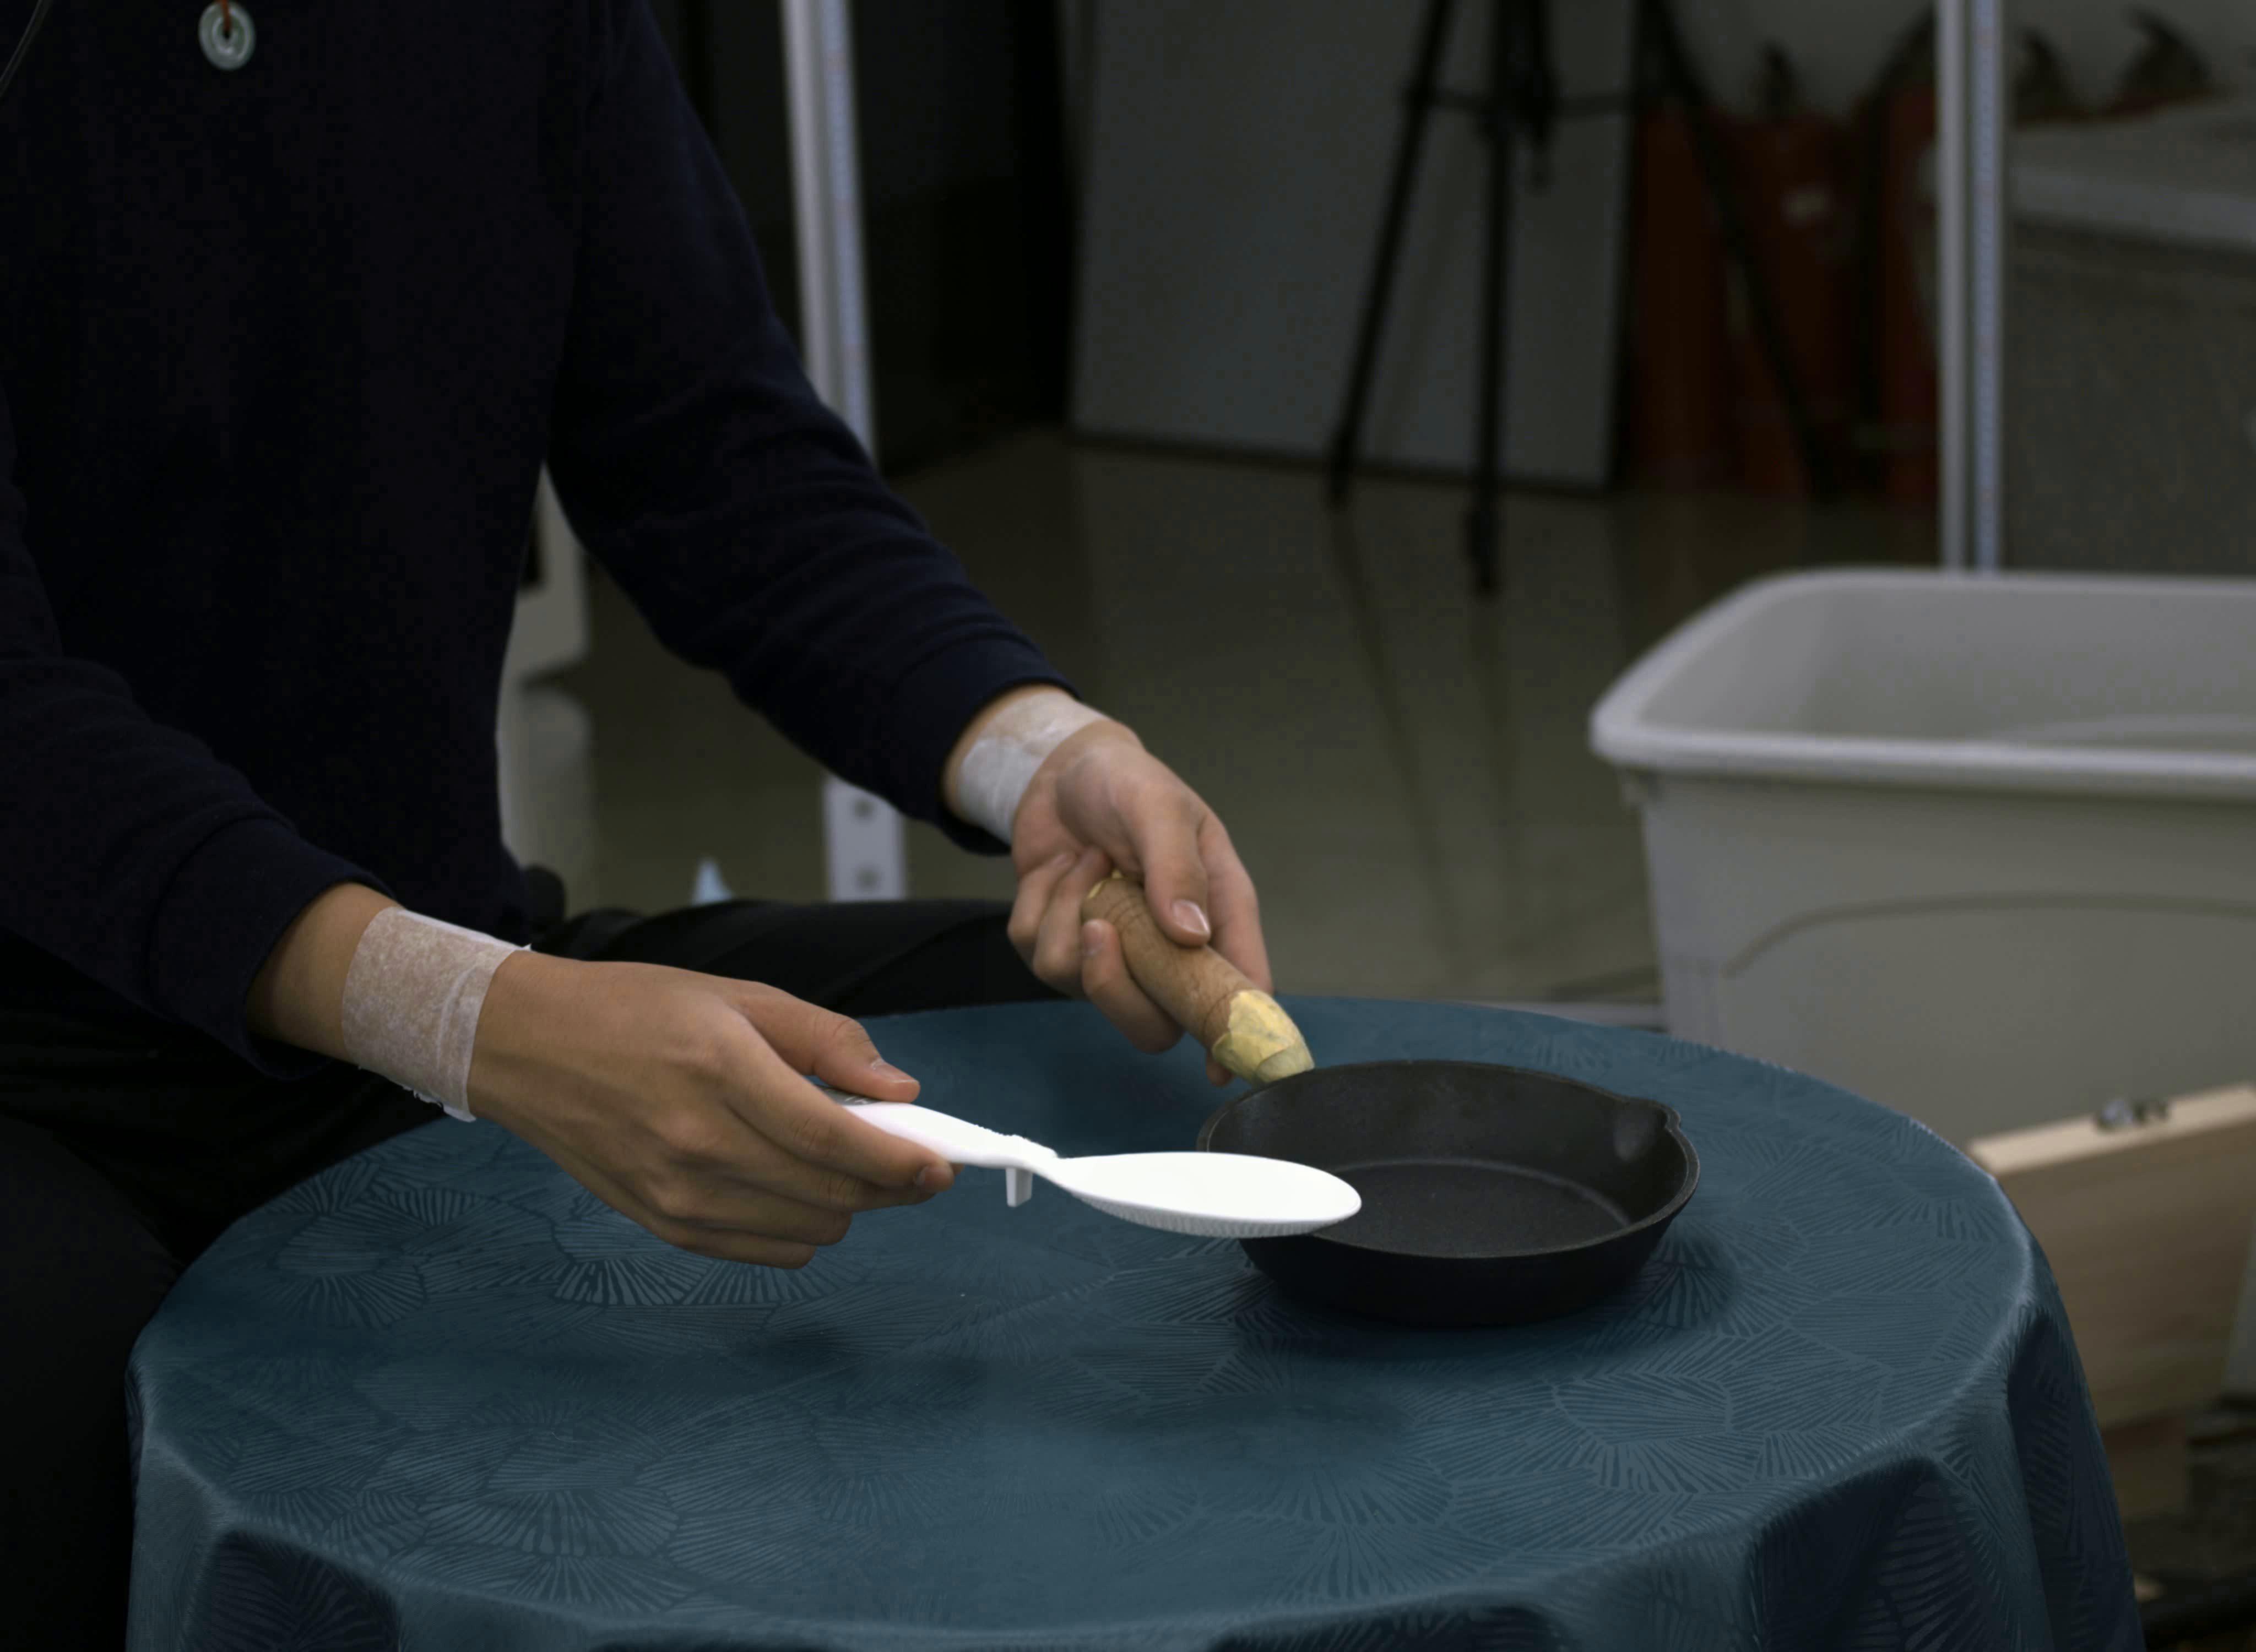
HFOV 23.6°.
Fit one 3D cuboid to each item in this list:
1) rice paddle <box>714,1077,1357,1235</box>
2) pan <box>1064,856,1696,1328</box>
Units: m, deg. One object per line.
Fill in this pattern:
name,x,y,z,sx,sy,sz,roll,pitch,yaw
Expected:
rice paddle,-0.027,0.099,1.607,0.205,0.030,0.068,5,16,25
pan,0.060,0.082,1.740,0.165,0.050,0.328,-9,22,-25
